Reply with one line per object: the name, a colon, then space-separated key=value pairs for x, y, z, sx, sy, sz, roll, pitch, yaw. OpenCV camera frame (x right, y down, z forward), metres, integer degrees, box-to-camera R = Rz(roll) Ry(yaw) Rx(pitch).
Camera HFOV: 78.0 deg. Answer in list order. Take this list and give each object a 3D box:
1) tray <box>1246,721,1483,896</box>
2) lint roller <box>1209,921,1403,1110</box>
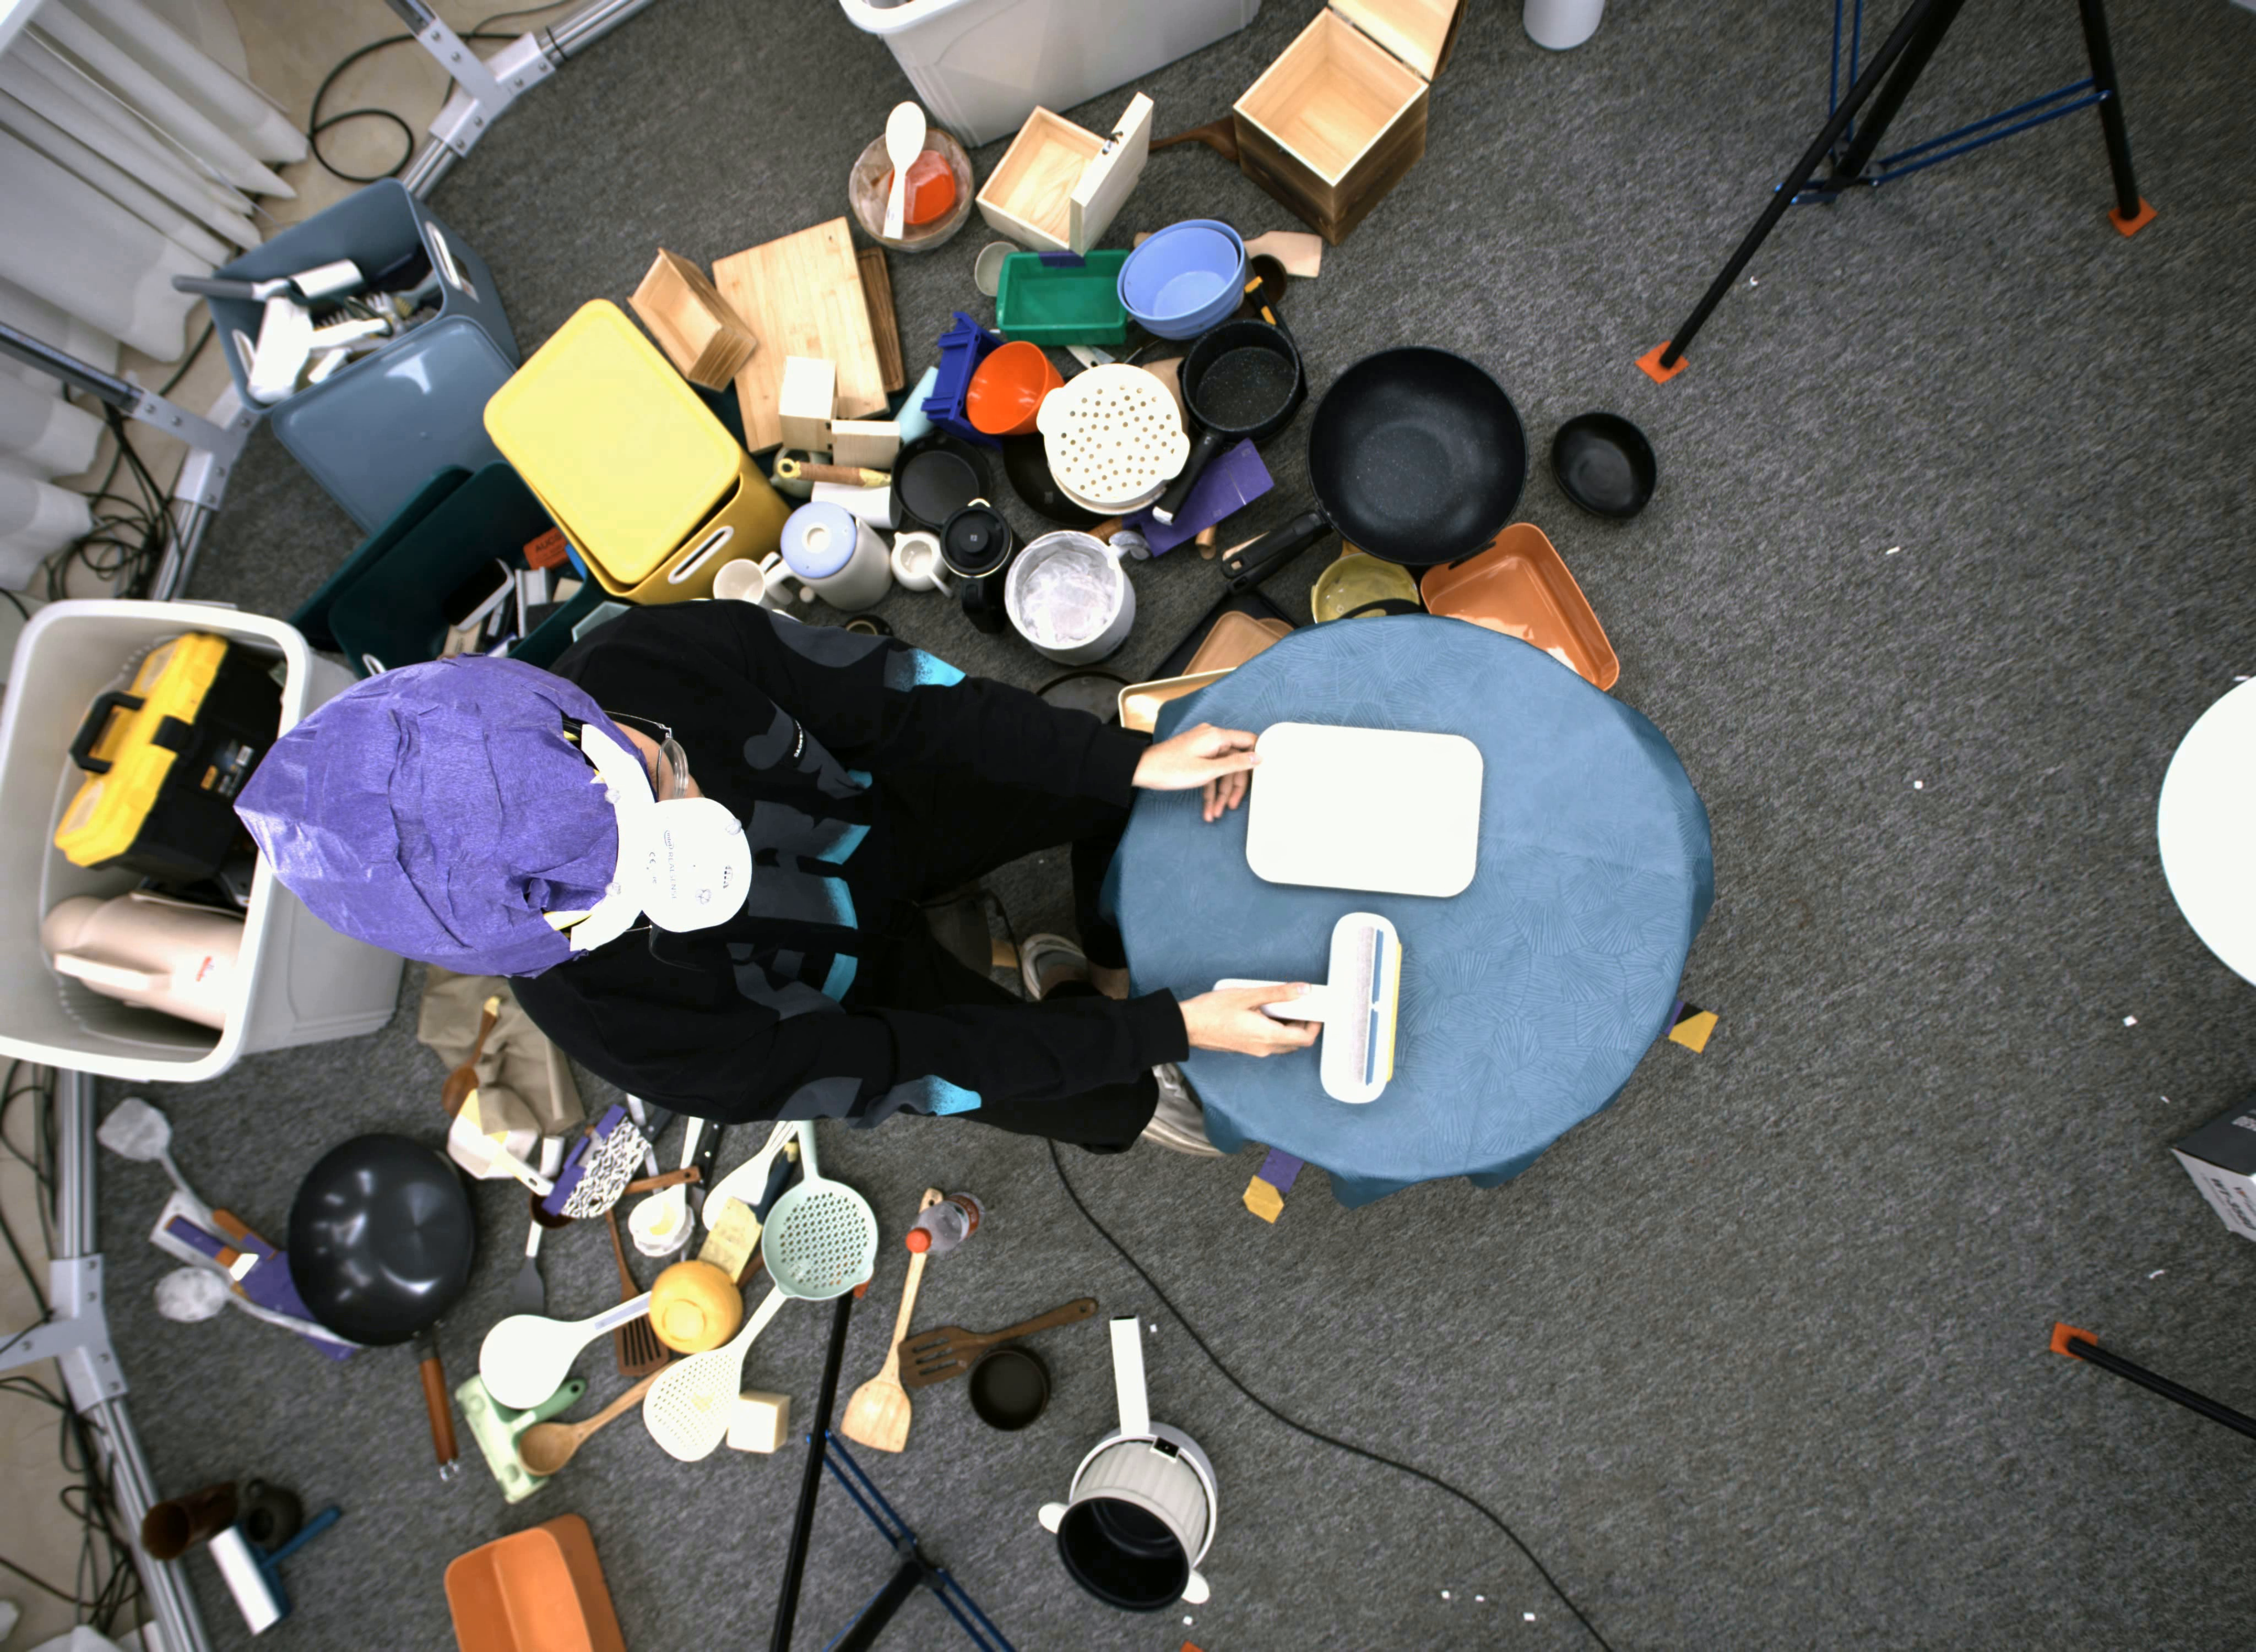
tray: x=0.247 y=-0.020 z=1.448 sx=0.240 sy=0.017 sz=0.171 roll=6 pitch=90 yaw=7
lint roller: x=0.178 y=0.184 z=1.426 sx=0.193 sy=0.074 sz=0.191 roll=8 pitch=84 yaw=6
